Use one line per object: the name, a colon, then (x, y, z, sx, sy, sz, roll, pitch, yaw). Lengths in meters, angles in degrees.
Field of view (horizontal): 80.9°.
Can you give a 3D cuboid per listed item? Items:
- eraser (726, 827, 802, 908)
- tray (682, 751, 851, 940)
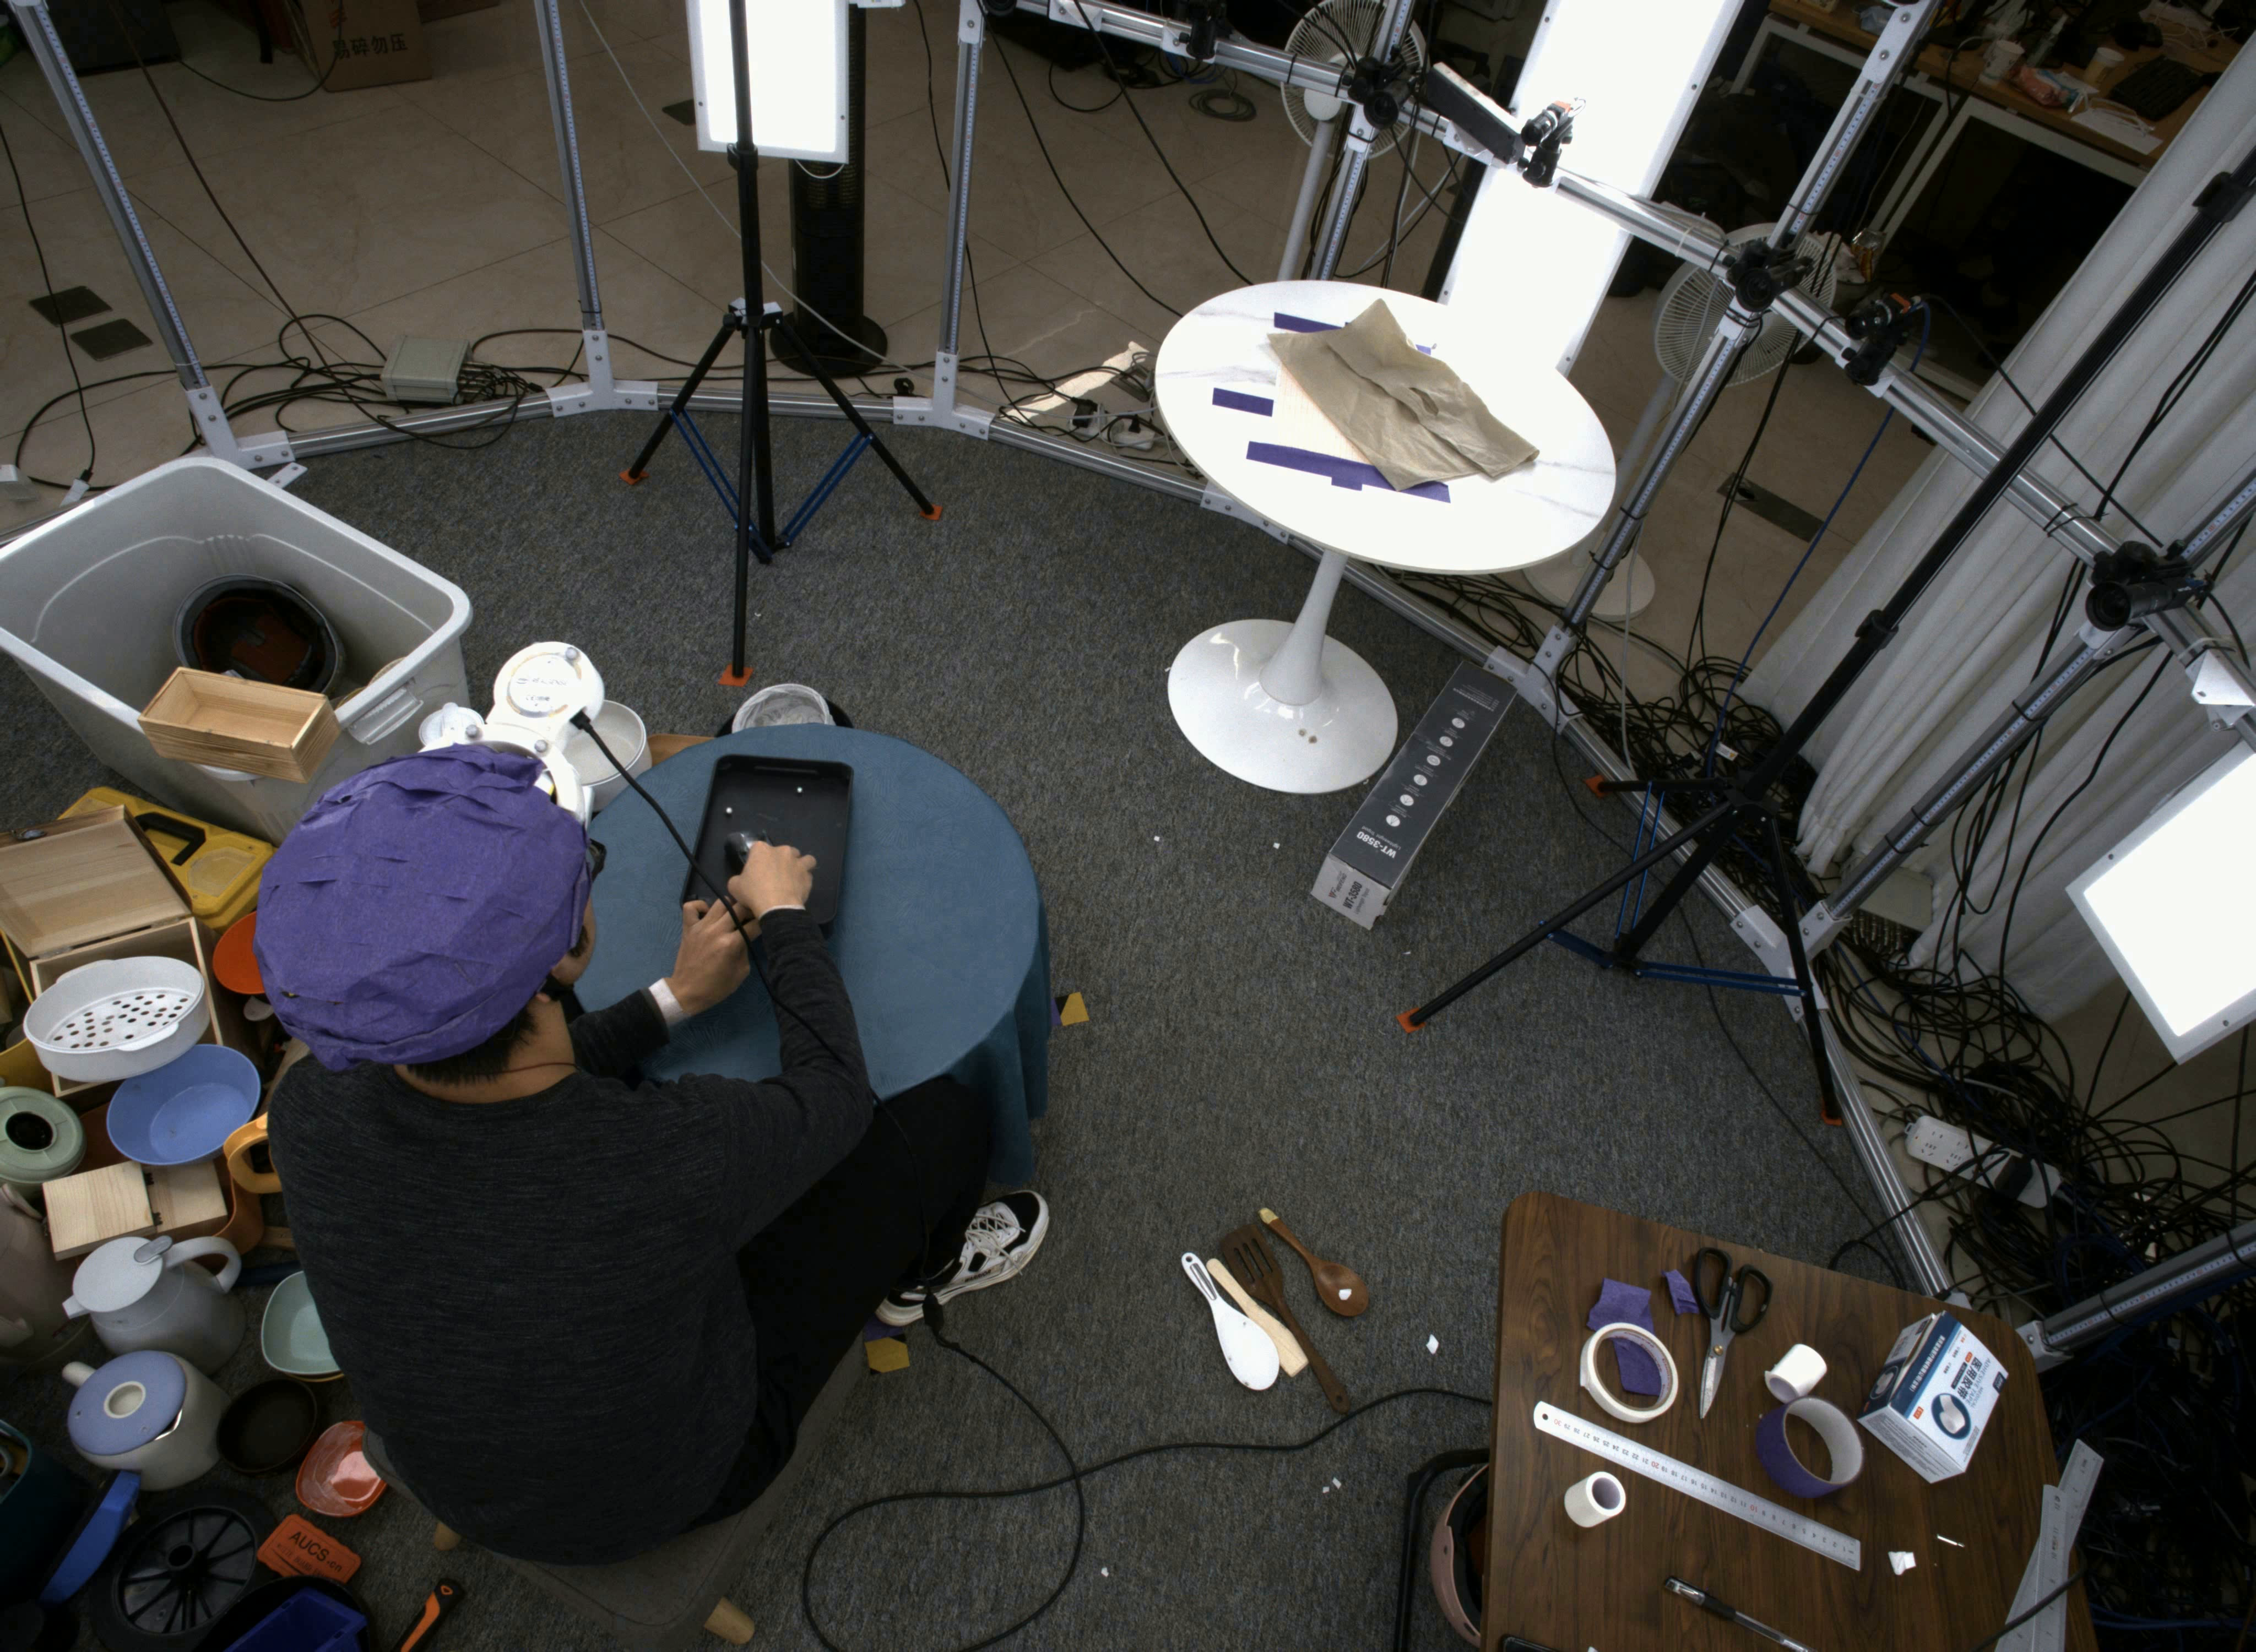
eraser: (-0.448, 0.048, 1.587, 0.054, 0.031, 0.121, -15, 42, -31)
tray: (-0.450, 0.017, 1.636, 0.184, 0.038, 0.310, 4, 41, -12)
